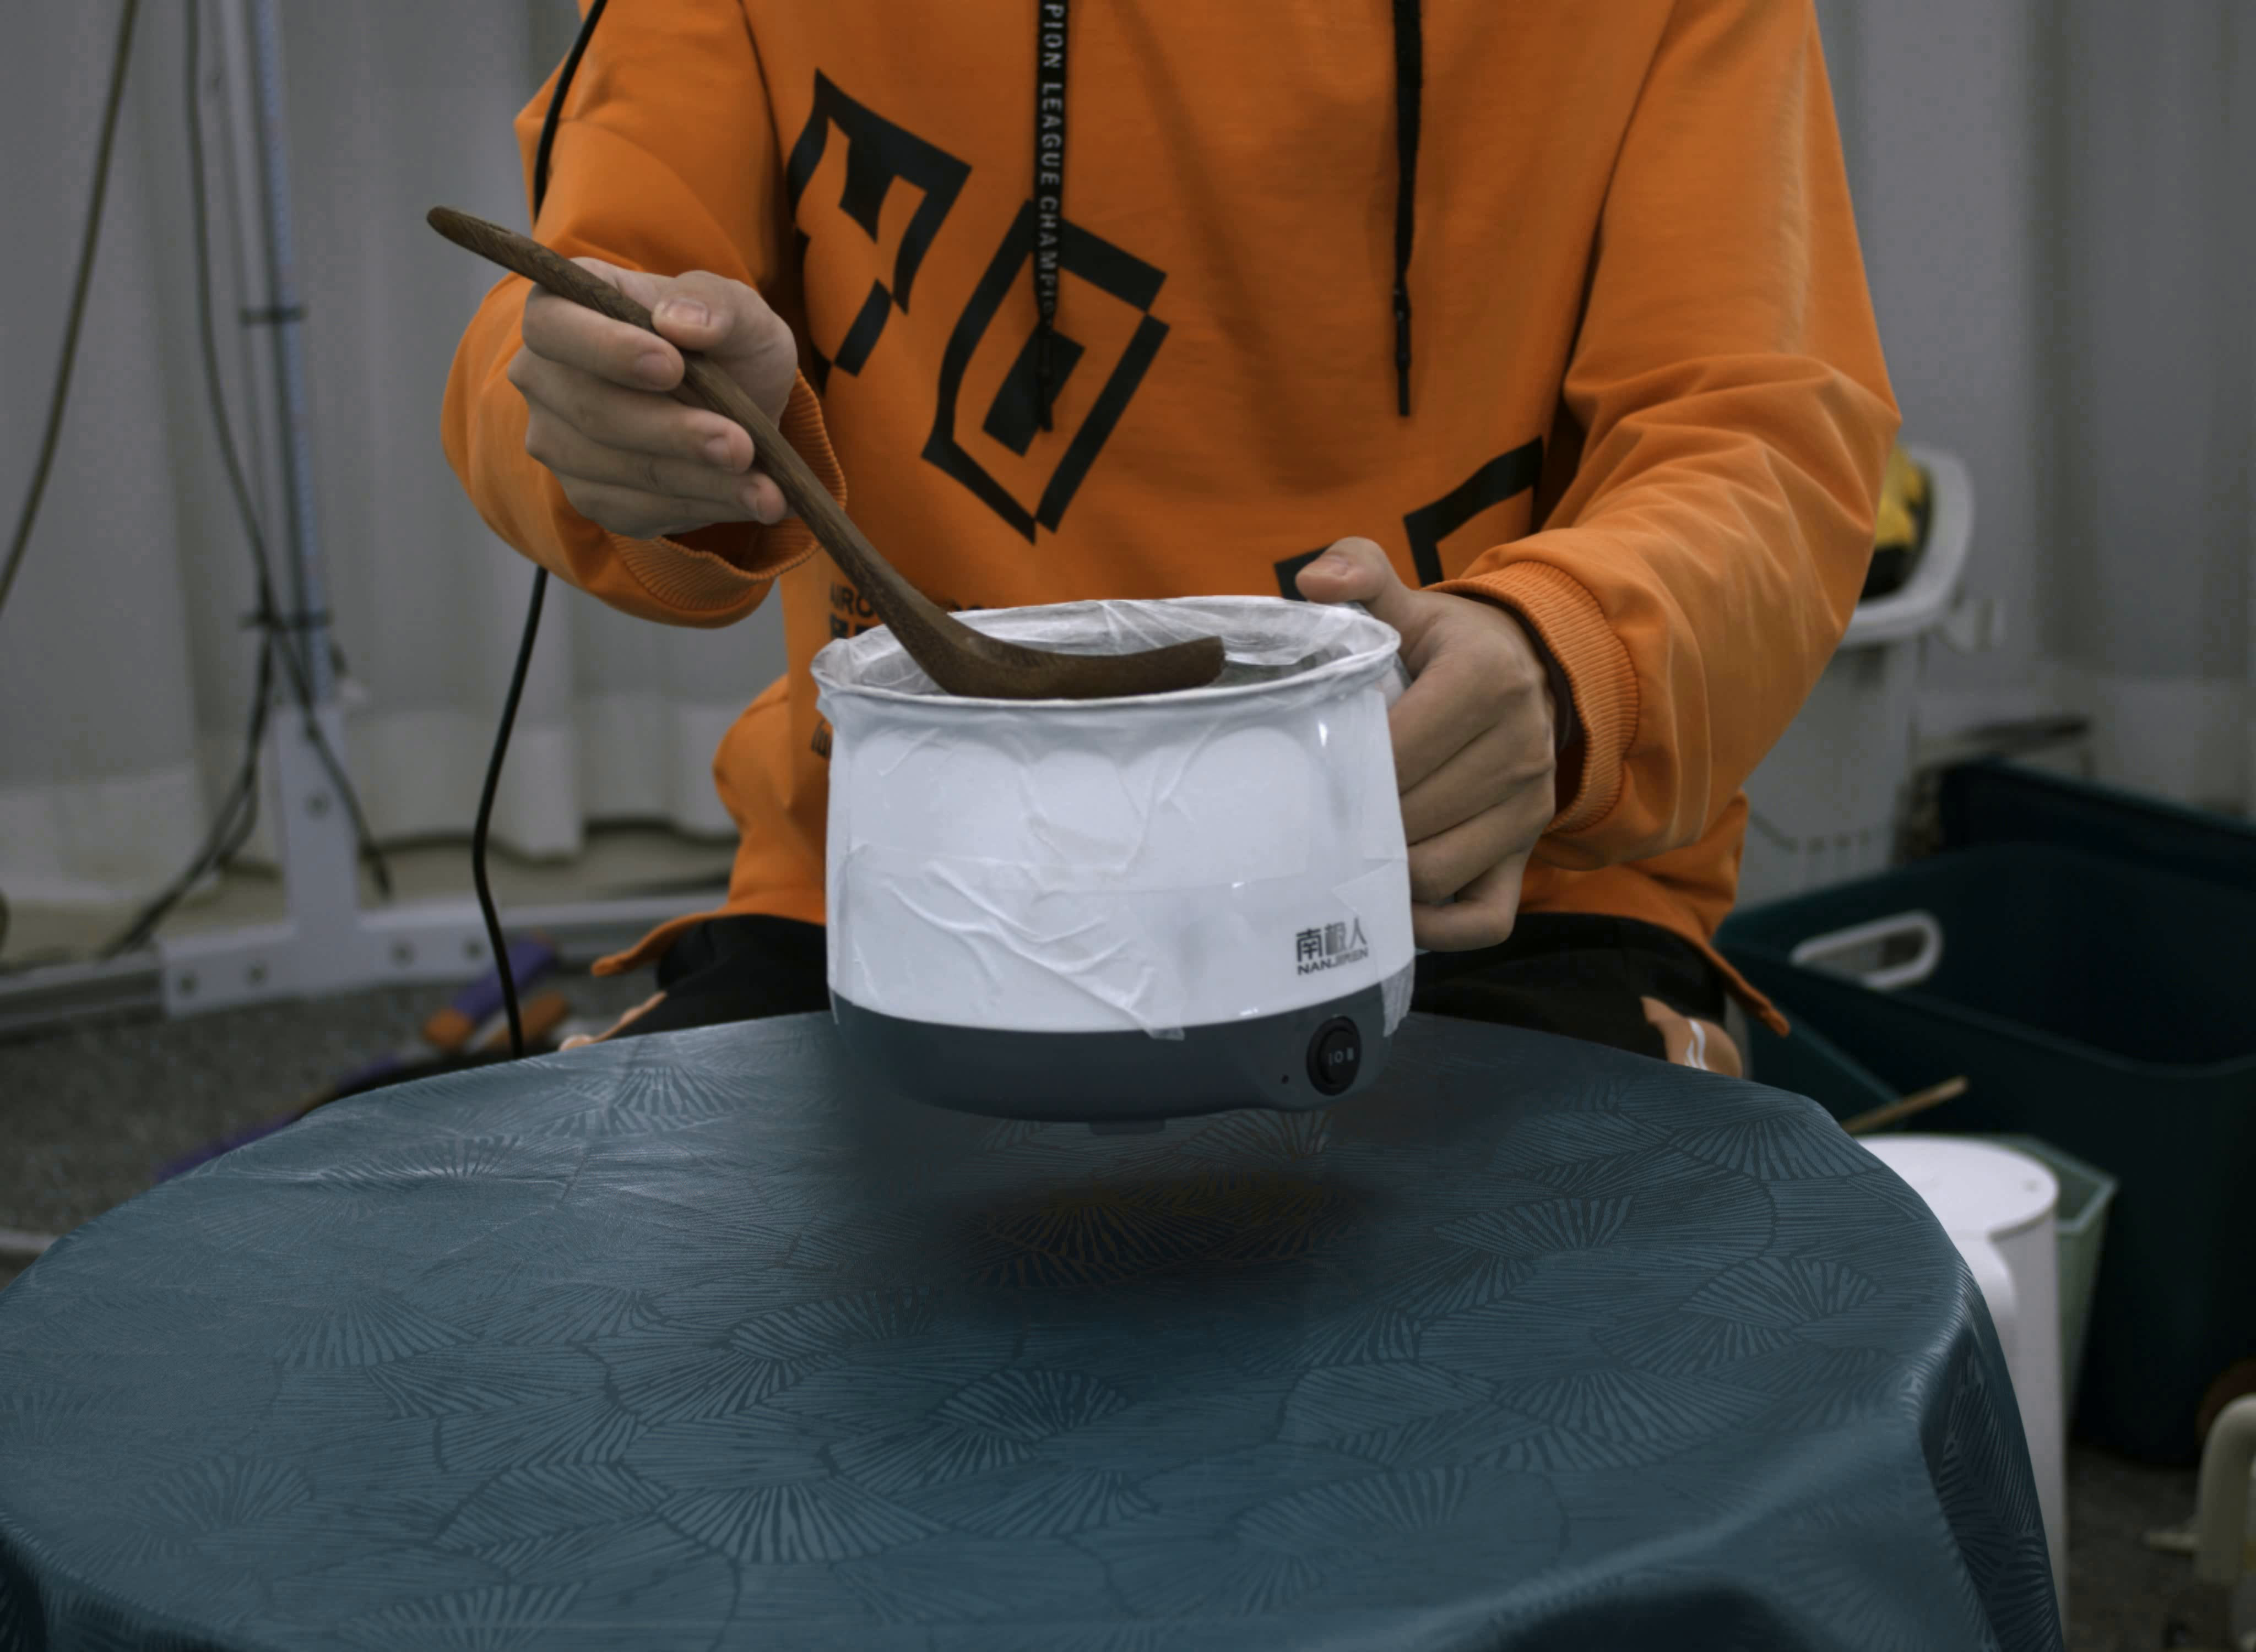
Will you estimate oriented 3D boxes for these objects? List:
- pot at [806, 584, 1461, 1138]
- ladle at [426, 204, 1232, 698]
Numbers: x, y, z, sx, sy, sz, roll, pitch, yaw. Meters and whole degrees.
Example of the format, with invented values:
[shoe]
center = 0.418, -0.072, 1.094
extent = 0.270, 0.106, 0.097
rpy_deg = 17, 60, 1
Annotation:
[pot]
center = 0.014, 0.004, 1.659
extent = 0.179, 0.136, 0.233
rpy_deg = 8, 15, 42
[ladle]
center = -0.087, -0.118, 1.618
extent = 0.275, 0.071, 0.076
rpy_deg = 42, 8, 9
